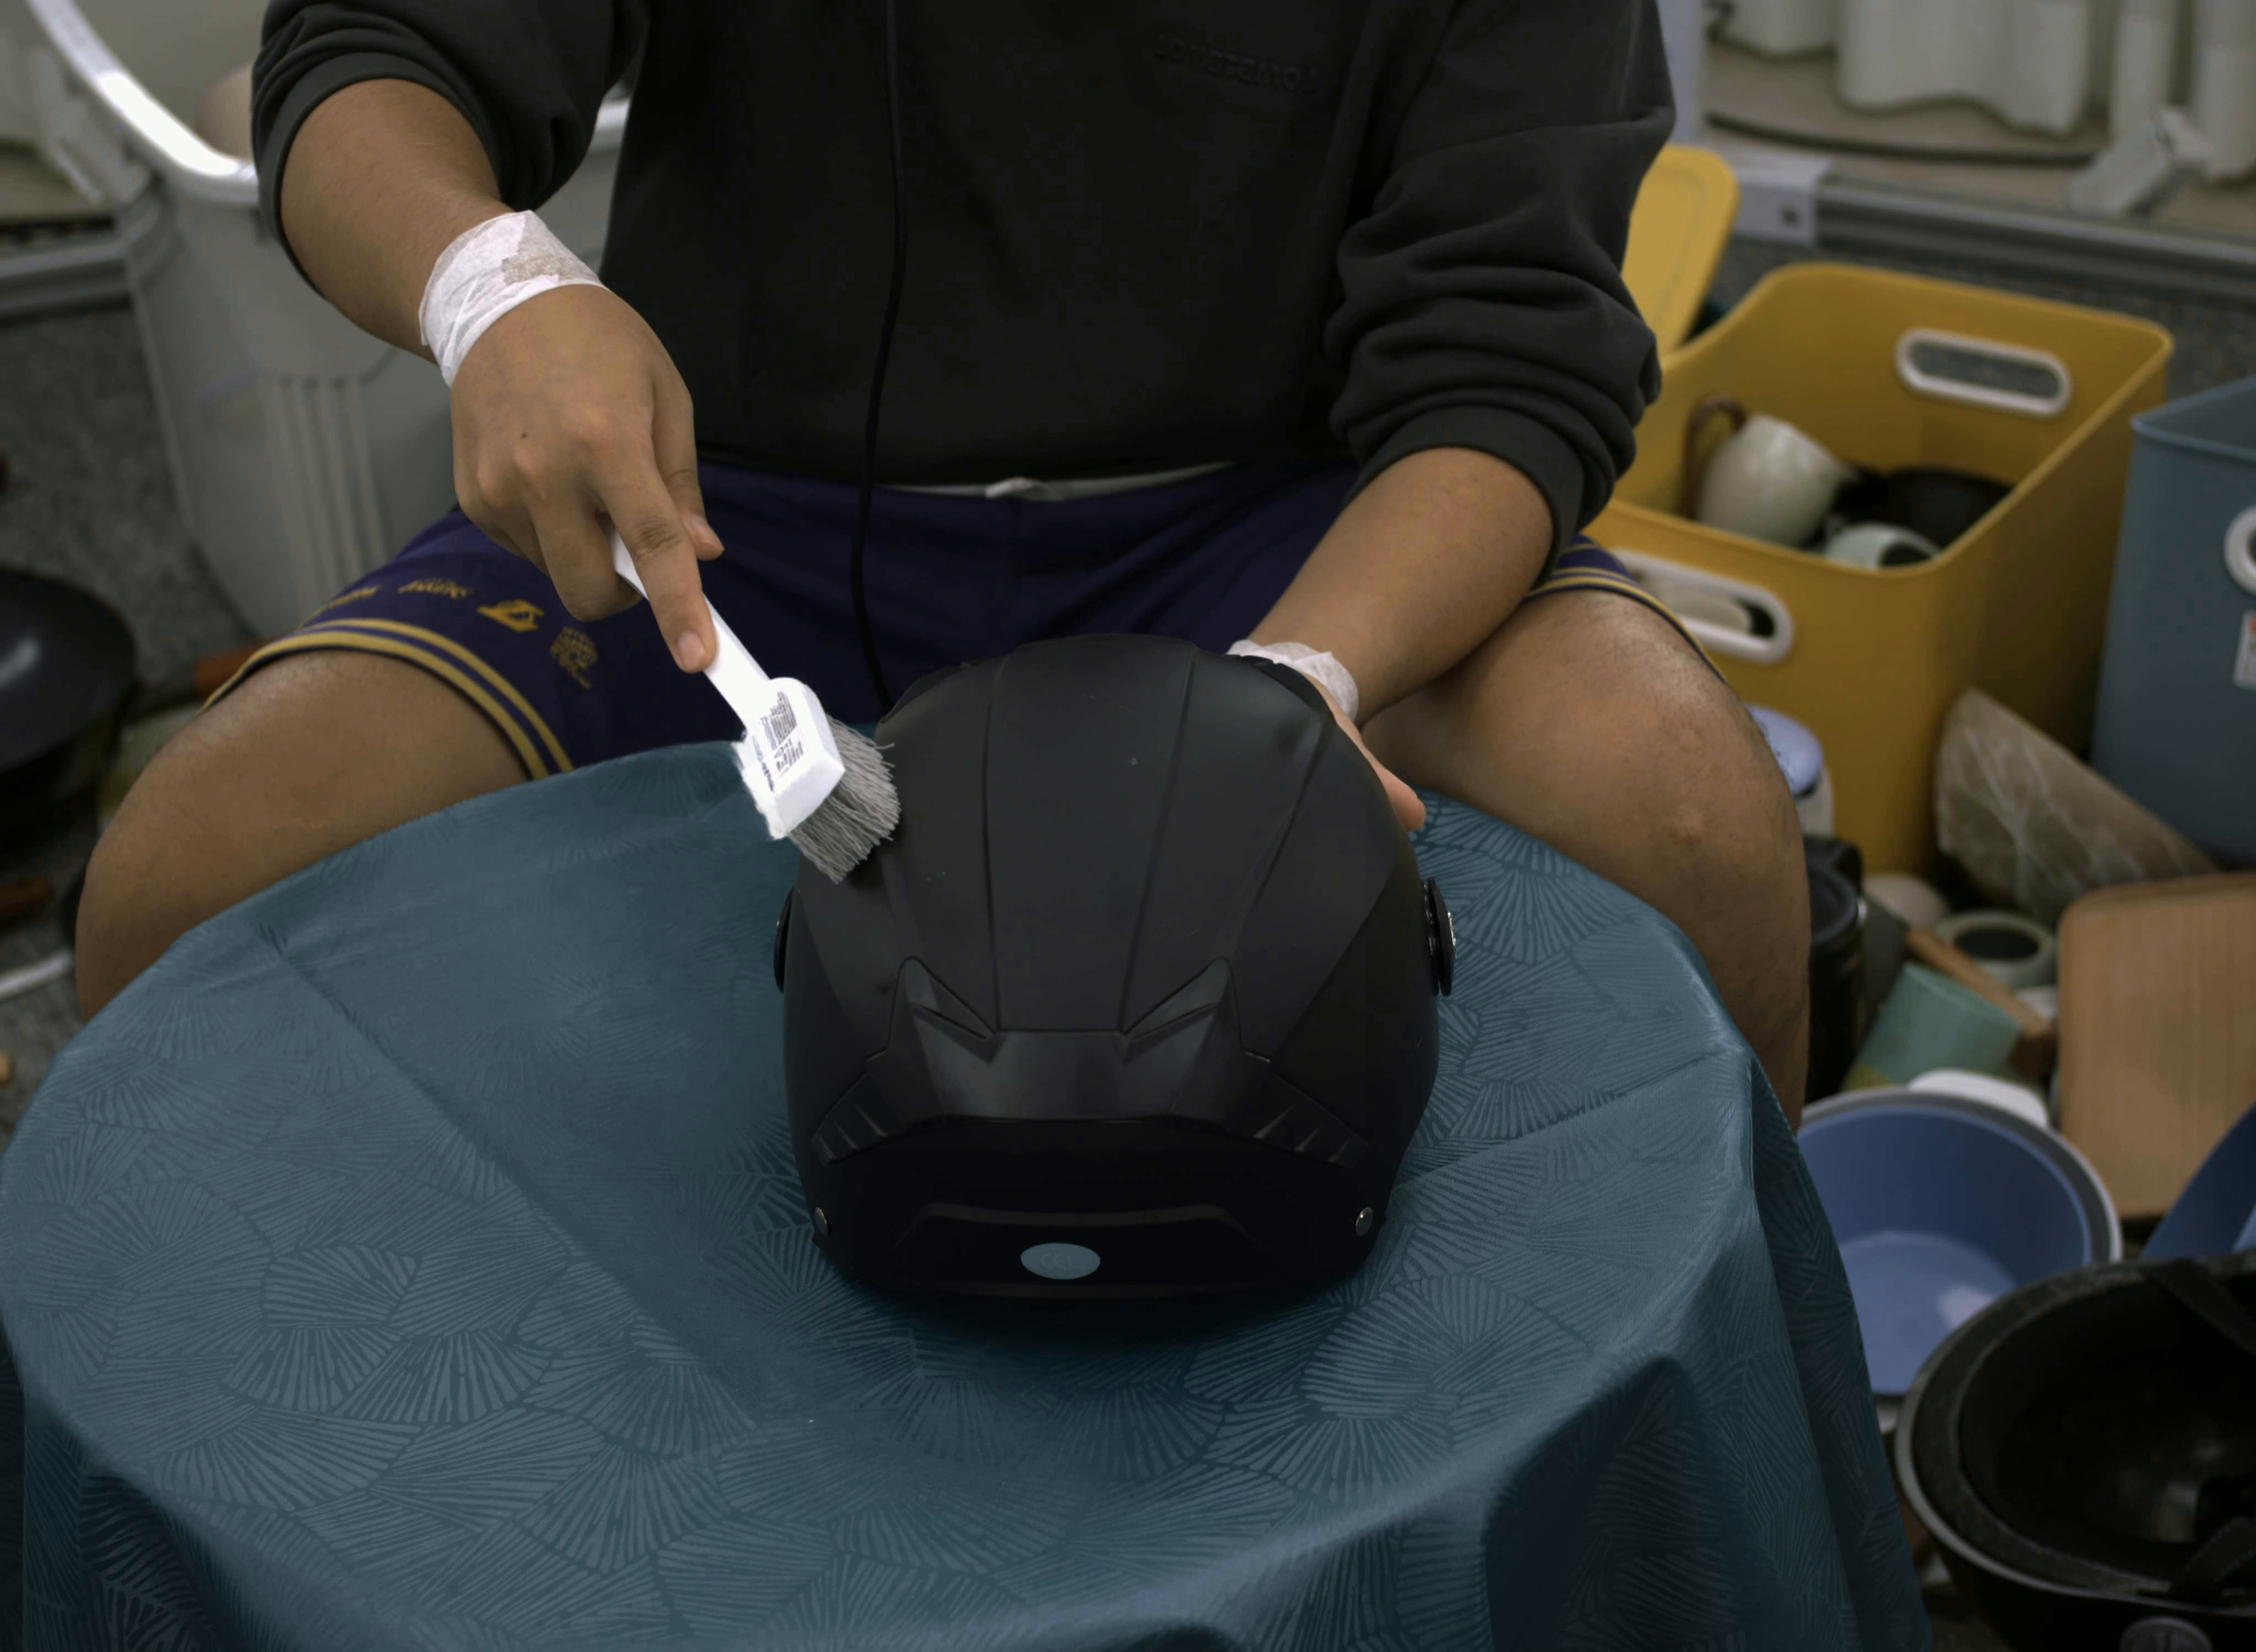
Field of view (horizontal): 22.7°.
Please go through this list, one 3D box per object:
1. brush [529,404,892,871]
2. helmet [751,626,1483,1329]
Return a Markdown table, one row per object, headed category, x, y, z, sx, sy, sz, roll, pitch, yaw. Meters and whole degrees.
| category | x | y | z | sx | sy | sz | roll | pitch | yaw |
| --- | --- | --- | --- | --- | --- | --- | --- | --- | --- |
| brush | -0.137 | -0.064 | 1.858 | 0.034 | 0.050 | 0.246 | -46 | 42 | 8 |
| helmet | -0.006 | 0.030 | 1.837 | 0.245 | 0.170 | 0.282 | 2 | 44 | 6 |
